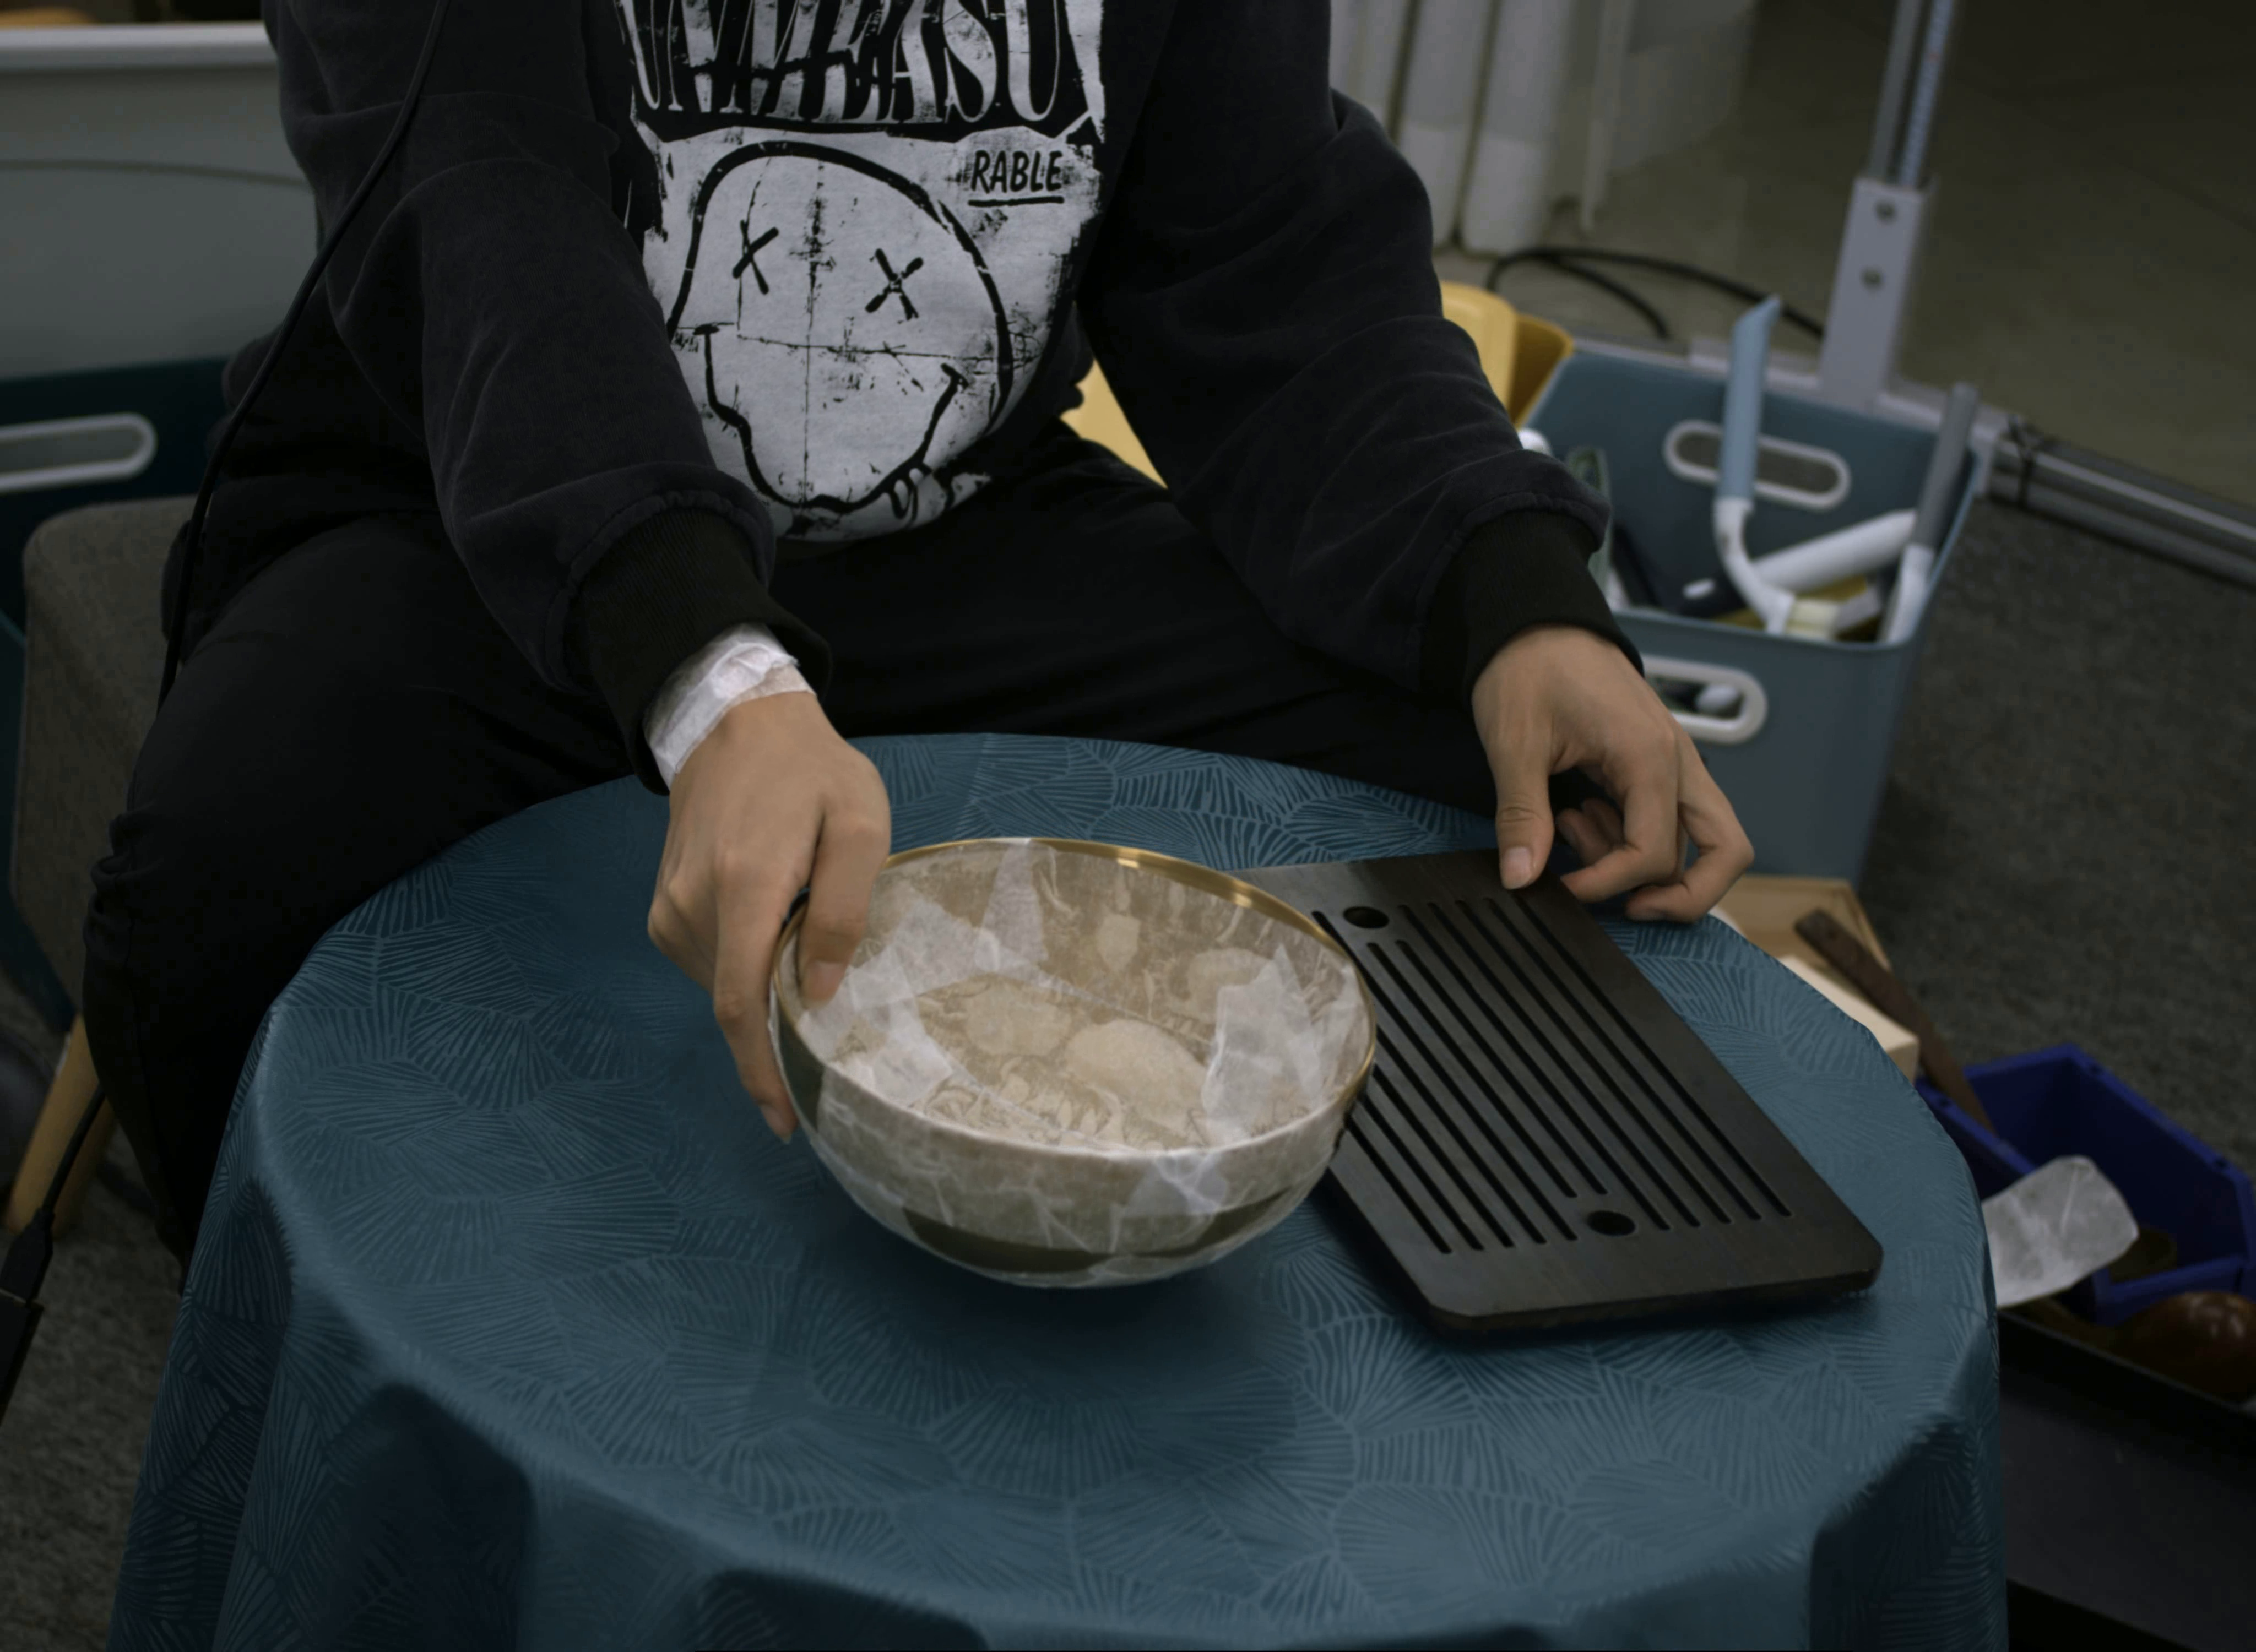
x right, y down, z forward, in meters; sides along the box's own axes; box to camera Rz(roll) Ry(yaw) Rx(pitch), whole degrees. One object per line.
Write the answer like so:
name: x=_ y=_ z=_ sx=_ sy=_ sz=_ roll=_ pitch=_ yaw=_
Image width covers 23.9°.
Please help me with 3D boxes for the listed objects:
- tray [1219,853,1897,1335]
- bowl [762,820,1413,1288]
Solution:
tray: x=0.130 y=0.091 z=1.874 sx=0.169 sy=0.018 sz=0.308 roll=-4 pitch=28 yaw=-20
bowl: x=-0.019 y=0.088 z=1.751 sx=0.214 sy=0.094 sz=0.216 roll=4 pitch=29 yaw=-3
